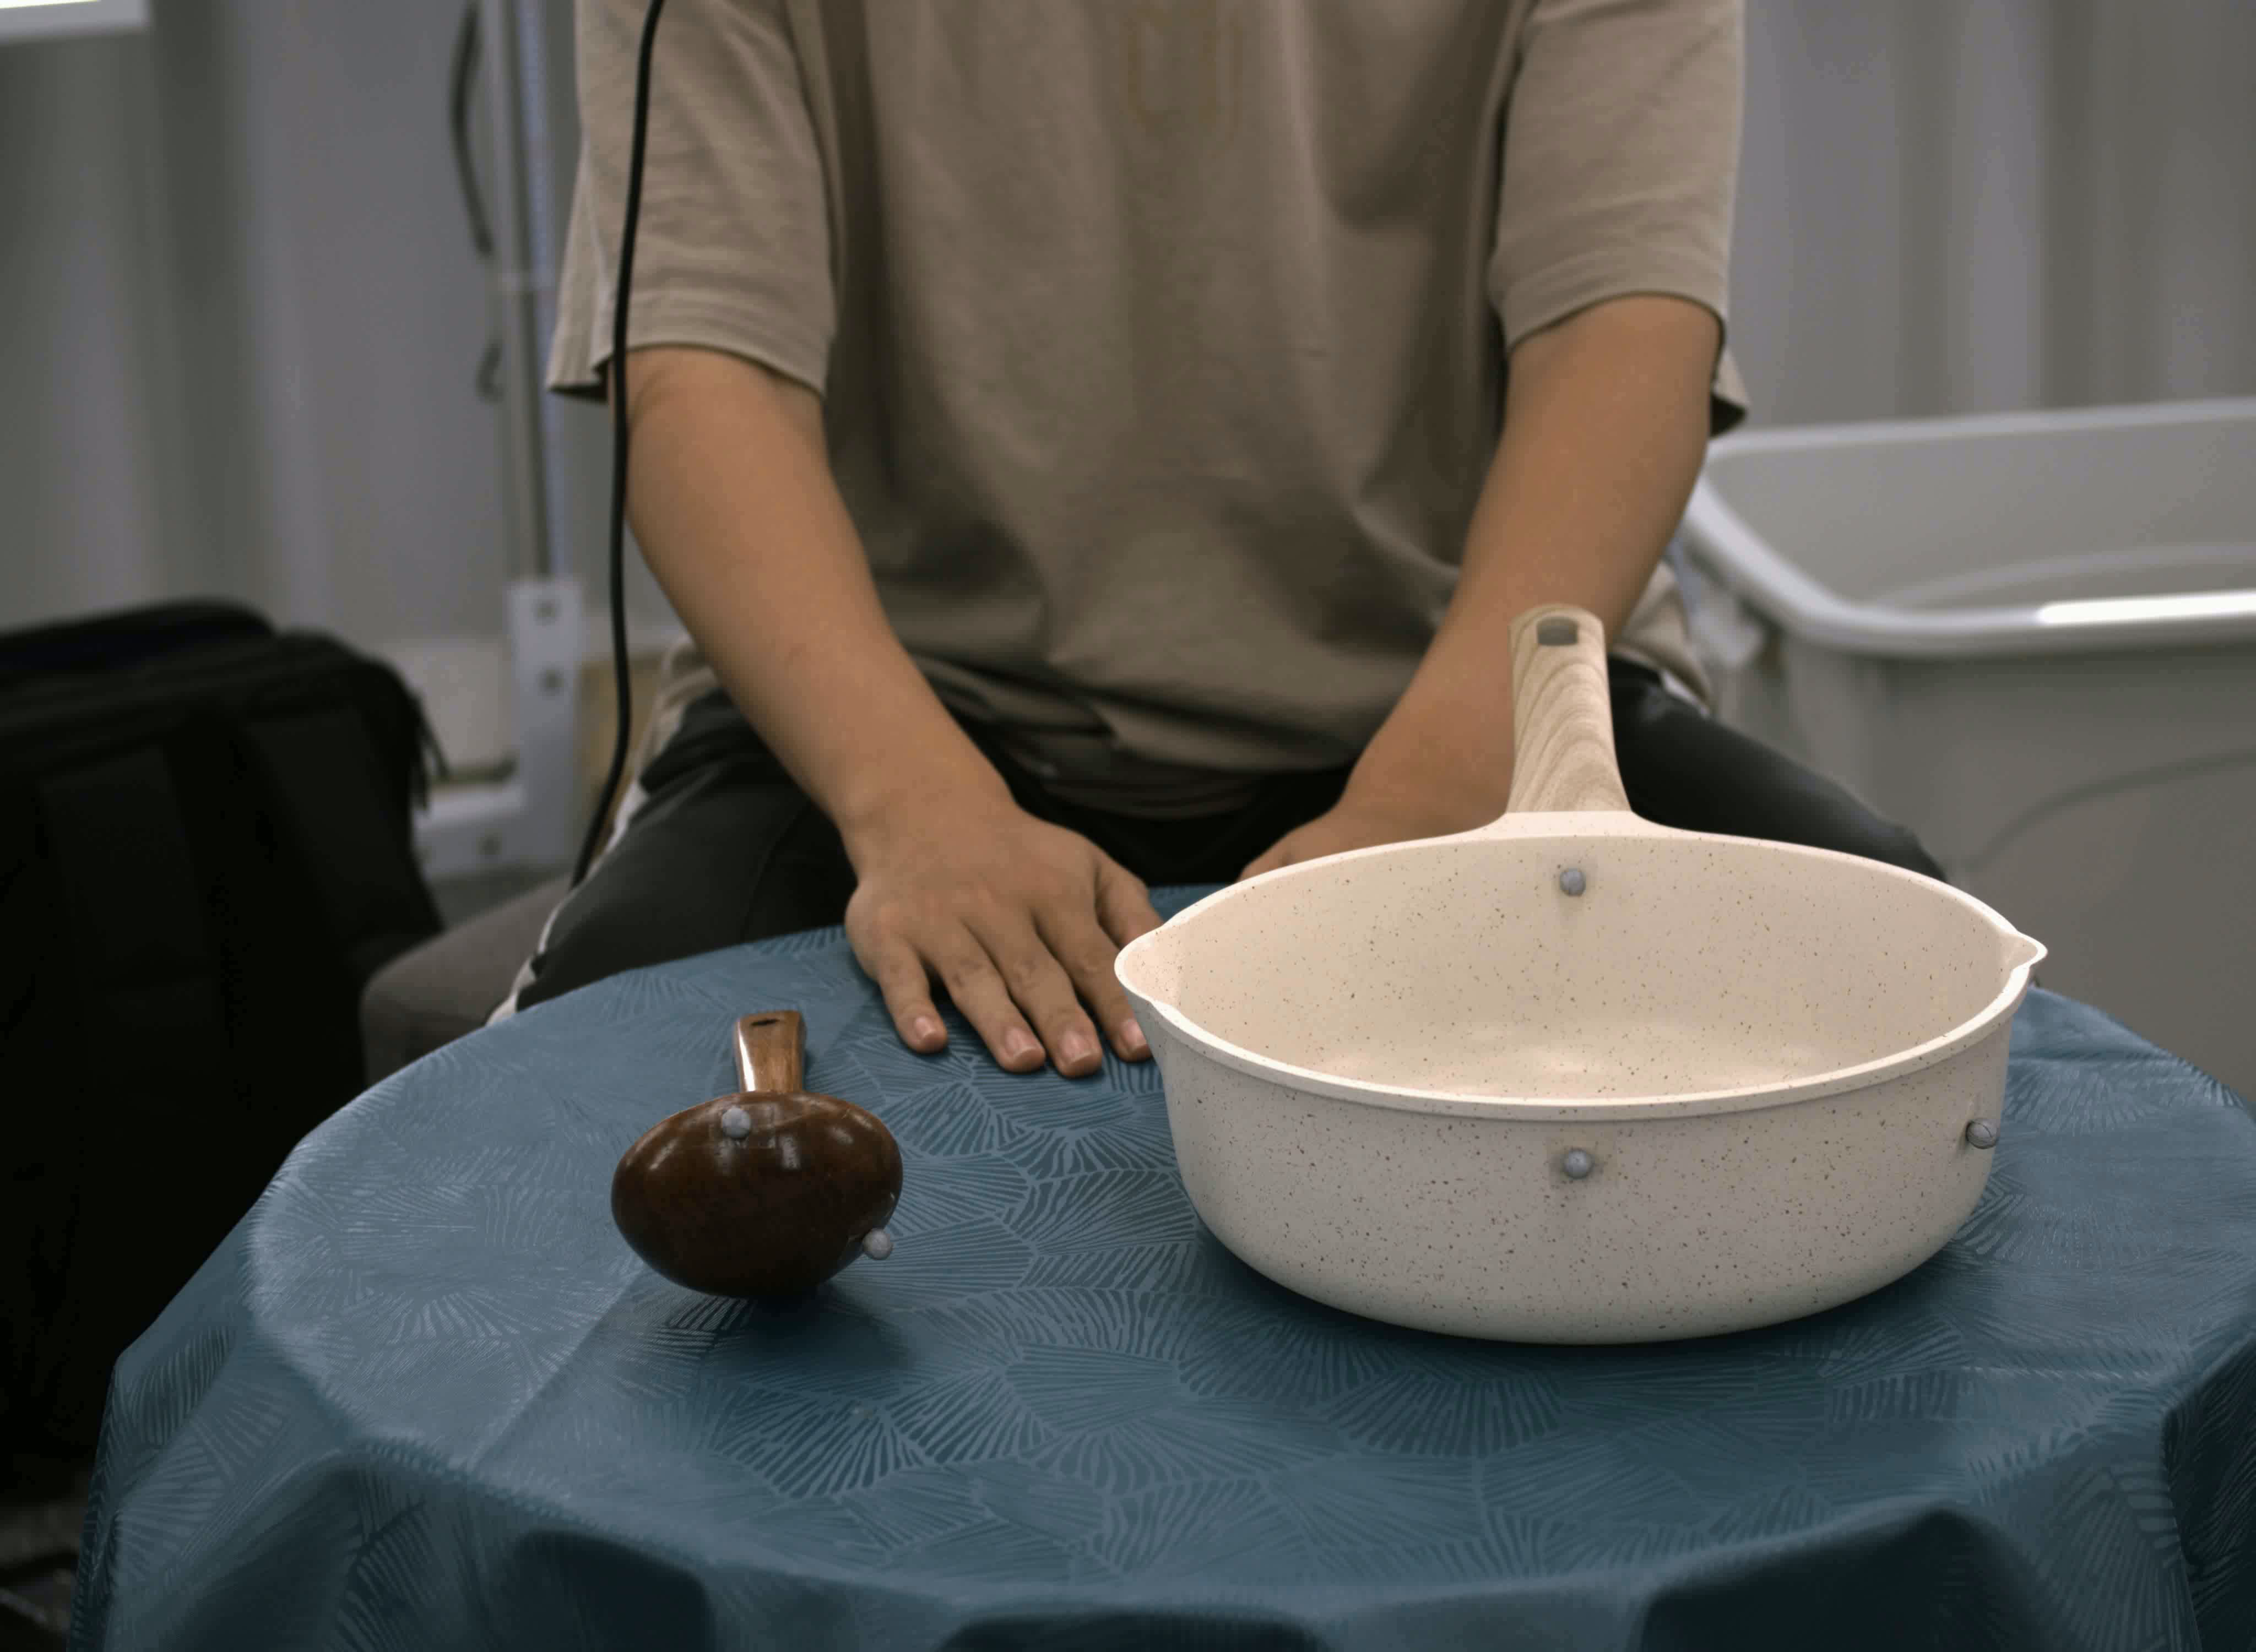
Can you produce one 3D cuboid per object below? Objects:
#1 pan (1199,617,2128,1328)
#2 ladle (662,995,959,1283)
[{"bbox_3d":[0.156,0.039,1.586,0.263,0.102,0.435,-3,16,4],"label":"pan"},{"bbox_3d":[-0.090,0.067,1.557,0.081,0.076,0.275,-5,17,0],"label":"ladle"}]
